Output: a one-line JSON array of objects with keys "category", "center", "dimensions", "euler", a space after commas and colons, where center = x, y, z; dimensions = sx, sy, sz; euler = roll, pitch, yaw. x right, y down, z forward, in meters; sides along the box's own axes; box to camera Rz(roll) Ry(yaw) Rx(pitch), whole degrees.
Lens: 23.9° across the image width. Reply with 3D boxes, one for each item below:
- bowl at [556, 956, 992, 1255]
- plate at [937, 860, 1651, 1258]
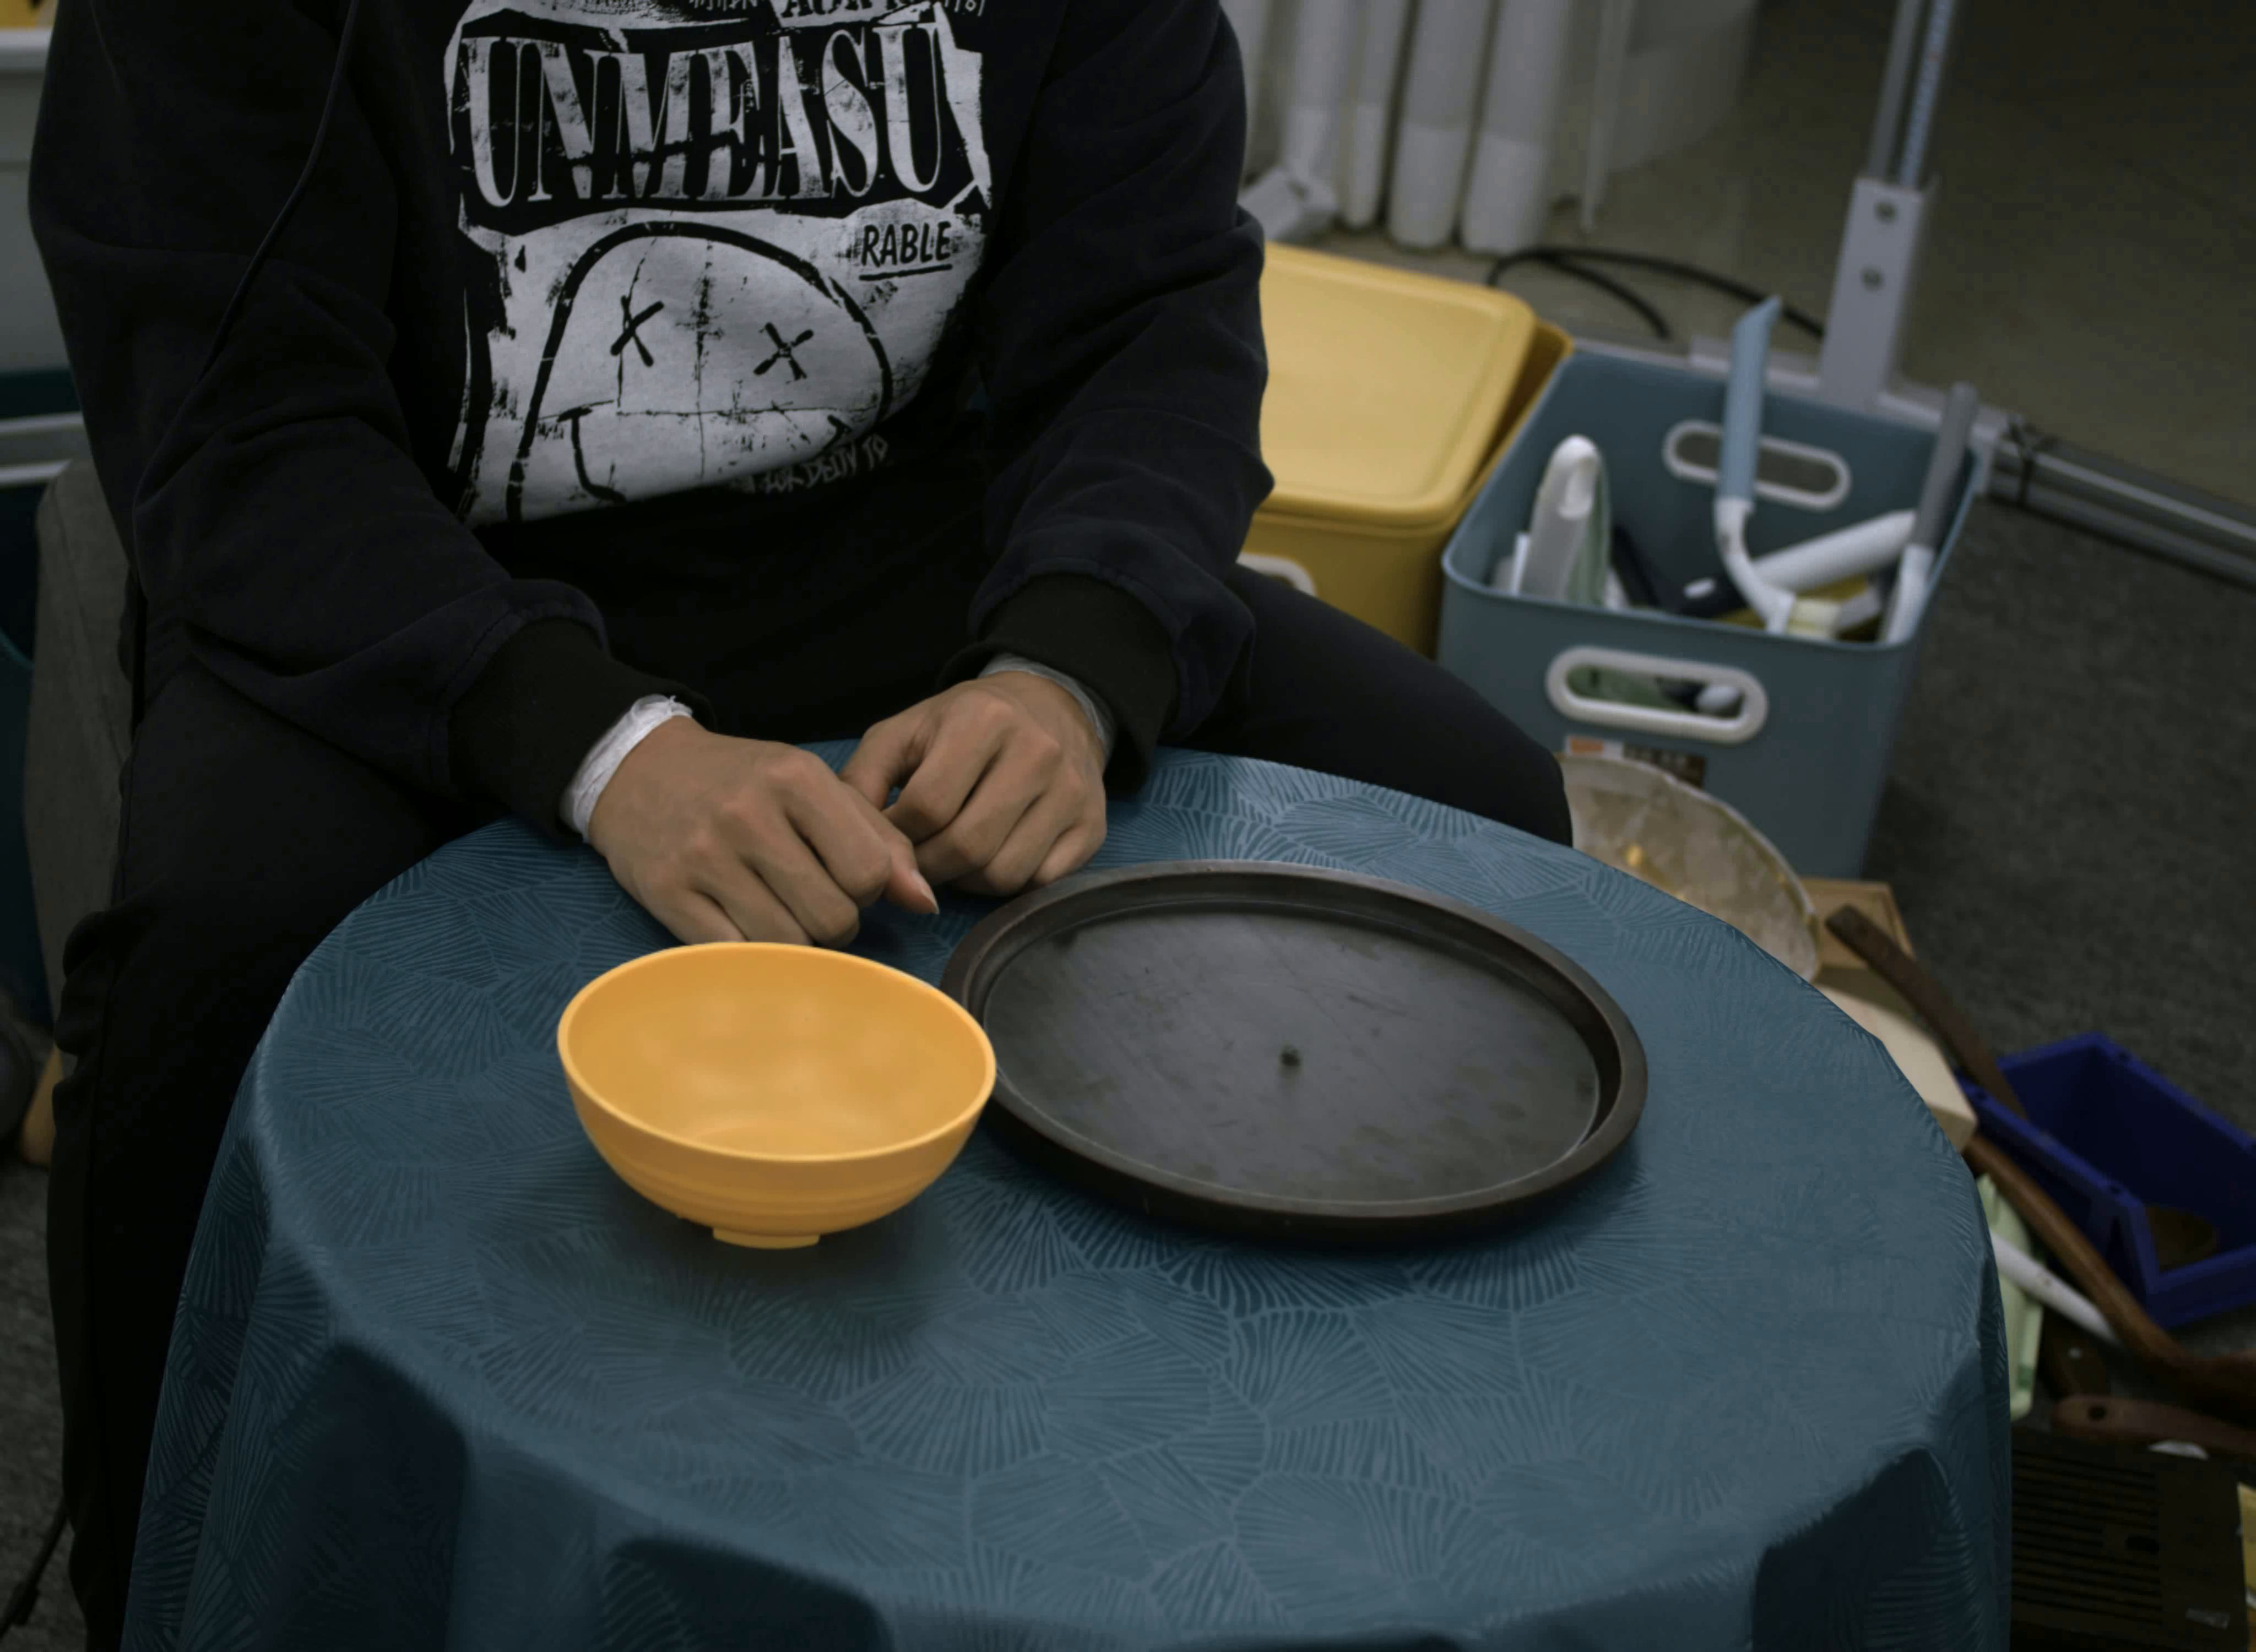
[{"category": "bowl", "center": [-0.119, 0.100, 1.759], "dimensions": [0.145, 0.060, 0.146], "euler": [6, 24, -3]}, {"category": "plate", "center": [0.058, 0.080, 1.875], "dimensions": [0.254, 0.029, 0.256], "euler": [4, 27, -2]}]
